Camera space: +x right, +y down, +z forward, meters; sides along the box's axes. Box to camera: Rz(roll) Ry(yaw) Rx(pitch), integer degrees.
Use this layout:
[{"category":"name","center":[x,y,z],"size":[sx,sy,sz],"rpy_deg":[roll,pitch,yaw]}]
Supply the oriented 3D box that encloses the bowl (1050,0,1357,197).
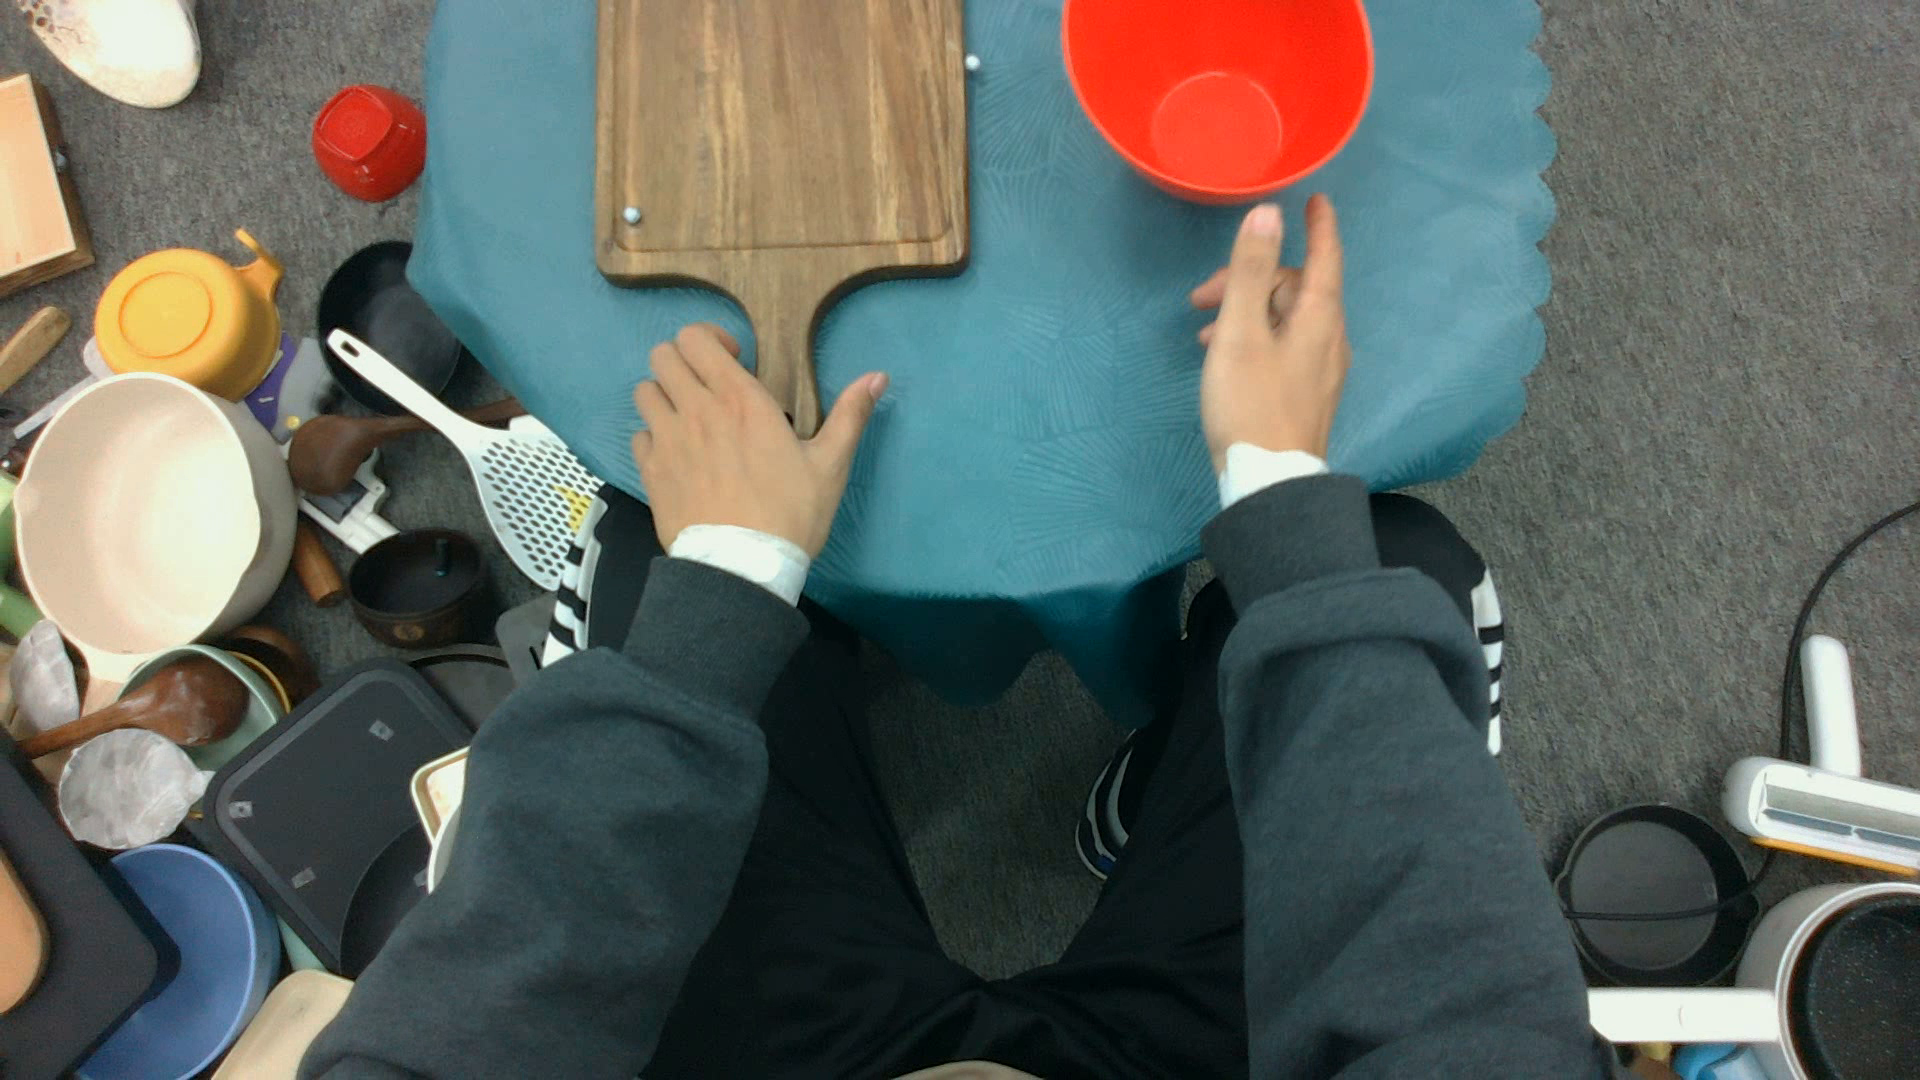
[{"category":"bowl","center":[0.118,-0.231,0.690],"size":[0.148,0.104,0.148],"rpy_deg":[0,79,2]}]

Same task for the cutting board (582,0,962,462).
[{"category":"cutting board","center":[-0.102,-0.215,0.733],"size":[0.201,0.023,0.352],"rpy_deg":[-2,80,1]}]
